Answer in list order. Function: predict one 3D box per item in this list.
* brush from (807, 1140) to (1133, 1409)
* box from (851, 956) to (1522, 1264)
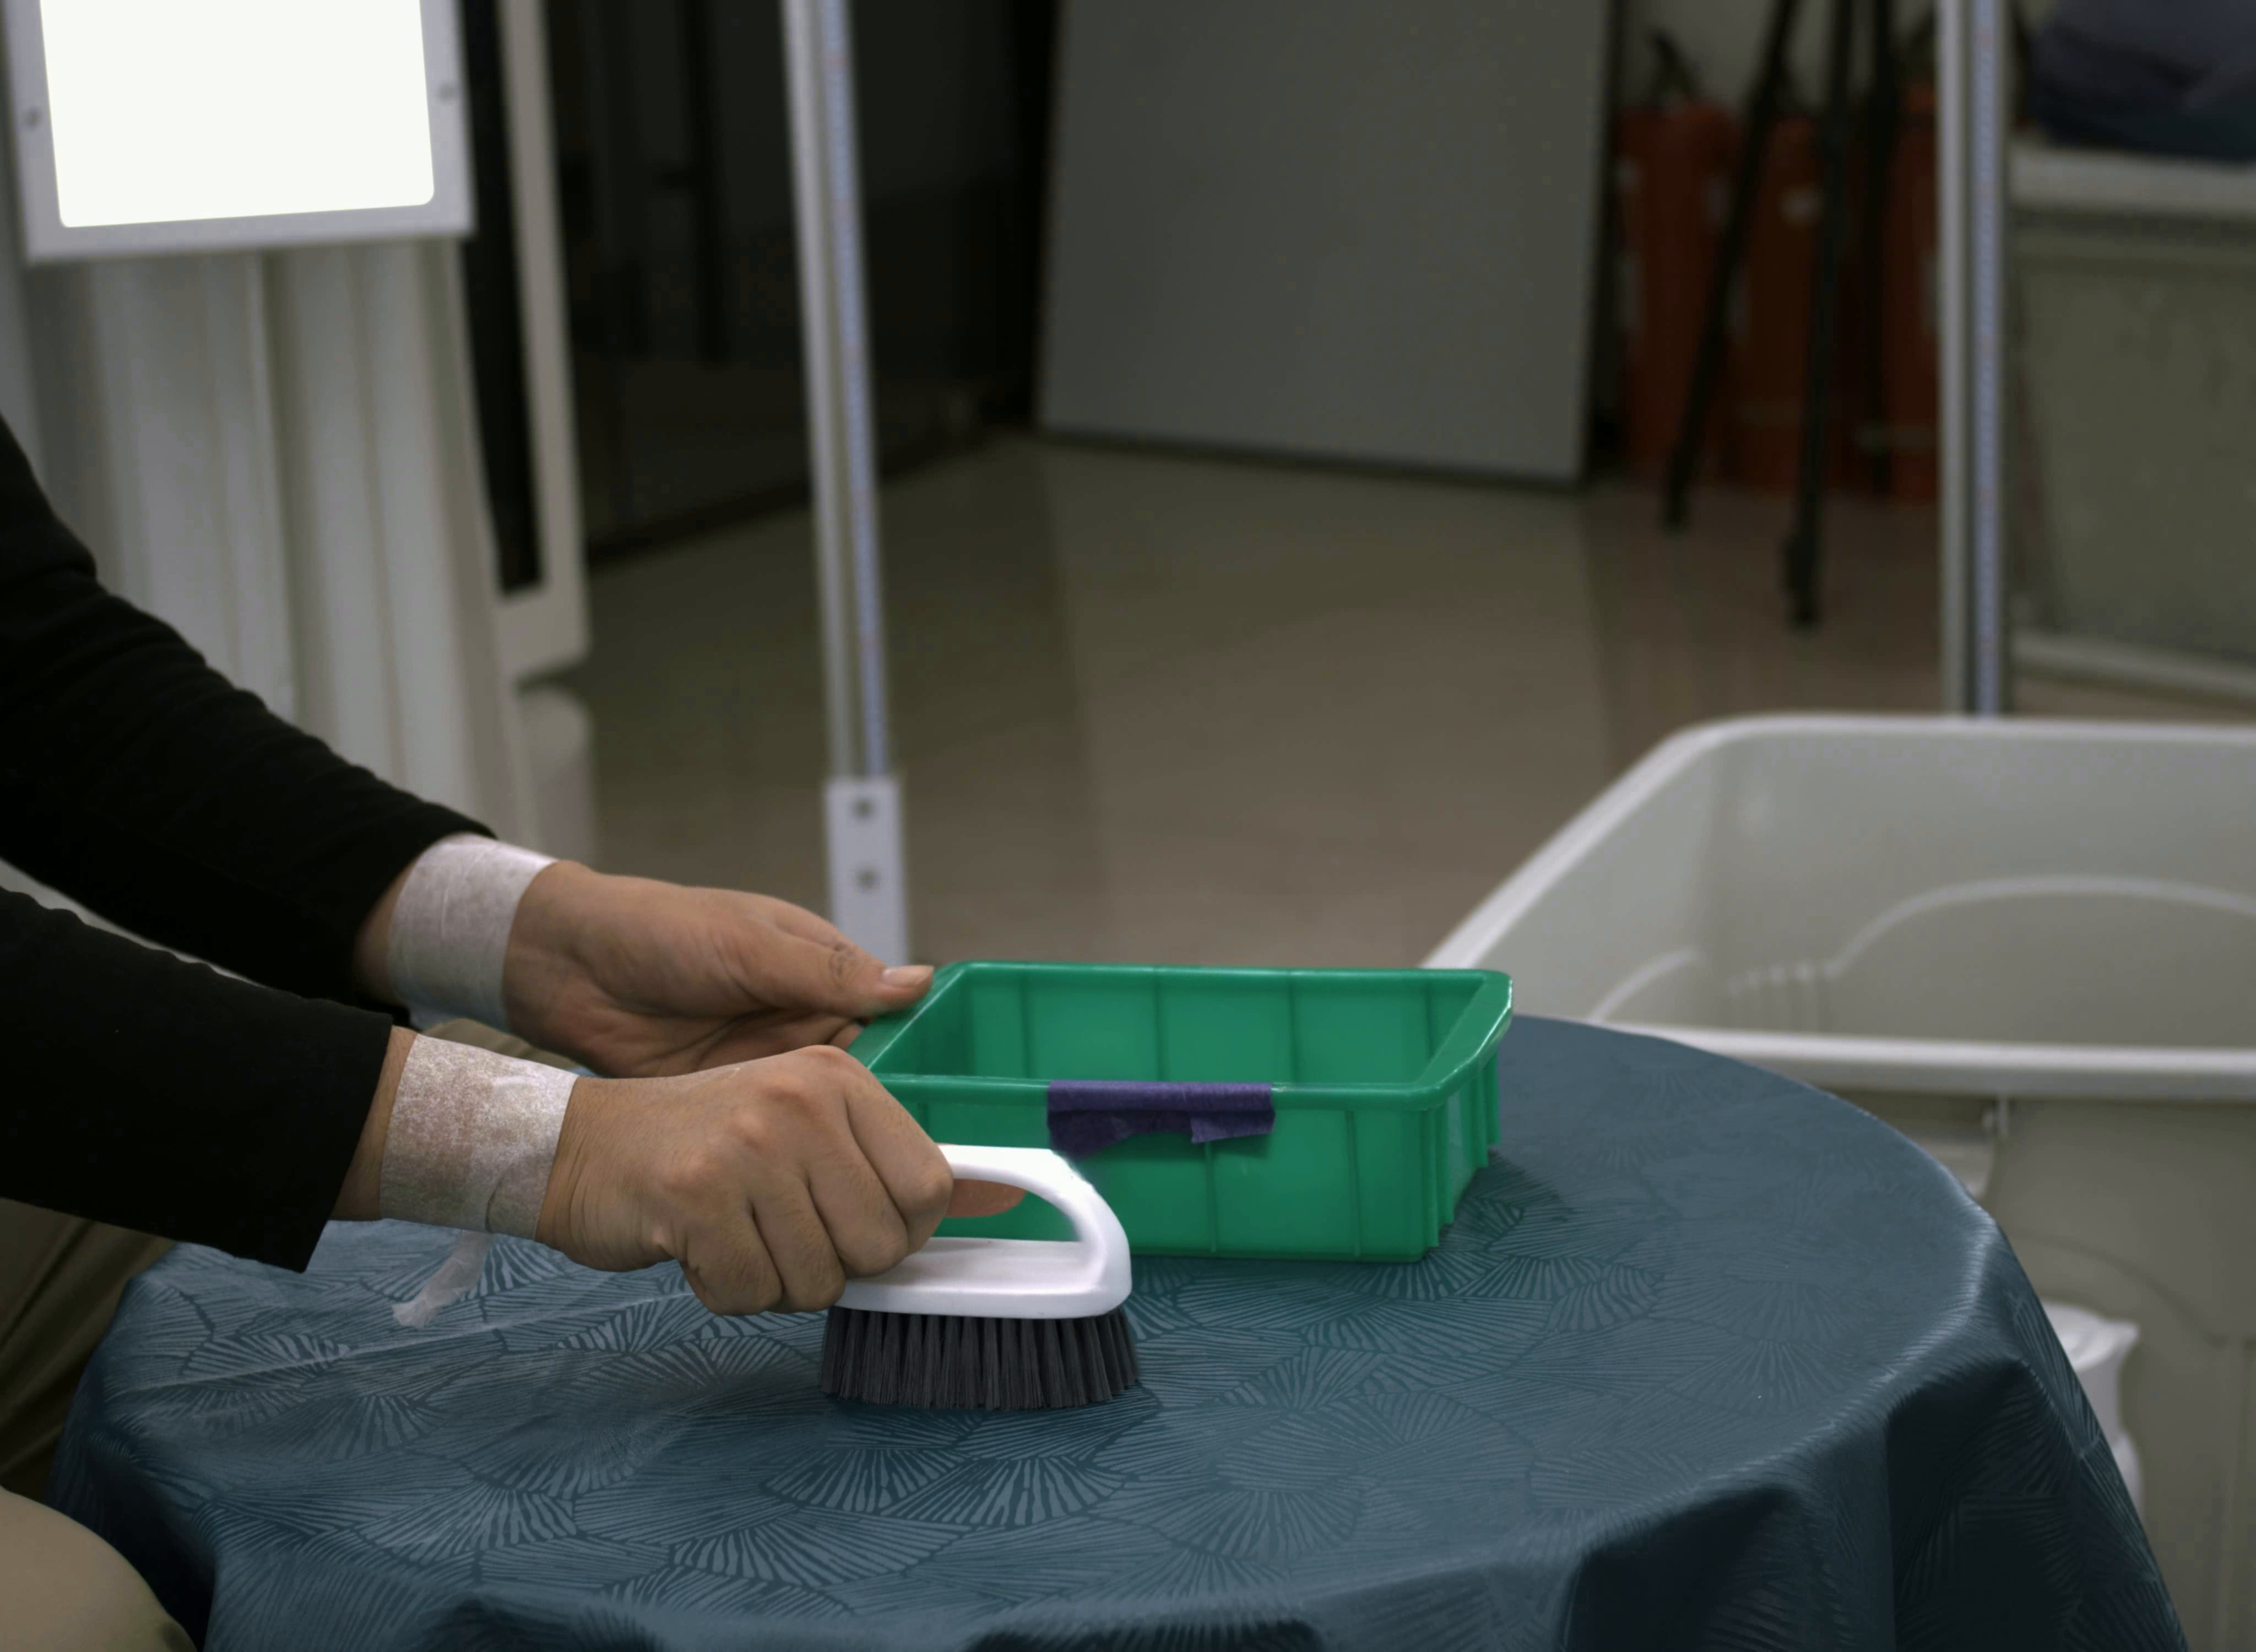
[{"bbox_3d":[-0.048,0.129,1.596,0.099,0.073,0.050,1,15,22],"label":"brush"},{"bbox_3d":[0.023,0.092,1.751,0.209,0.066,0.138,1,17,15],"label":"box"}]
